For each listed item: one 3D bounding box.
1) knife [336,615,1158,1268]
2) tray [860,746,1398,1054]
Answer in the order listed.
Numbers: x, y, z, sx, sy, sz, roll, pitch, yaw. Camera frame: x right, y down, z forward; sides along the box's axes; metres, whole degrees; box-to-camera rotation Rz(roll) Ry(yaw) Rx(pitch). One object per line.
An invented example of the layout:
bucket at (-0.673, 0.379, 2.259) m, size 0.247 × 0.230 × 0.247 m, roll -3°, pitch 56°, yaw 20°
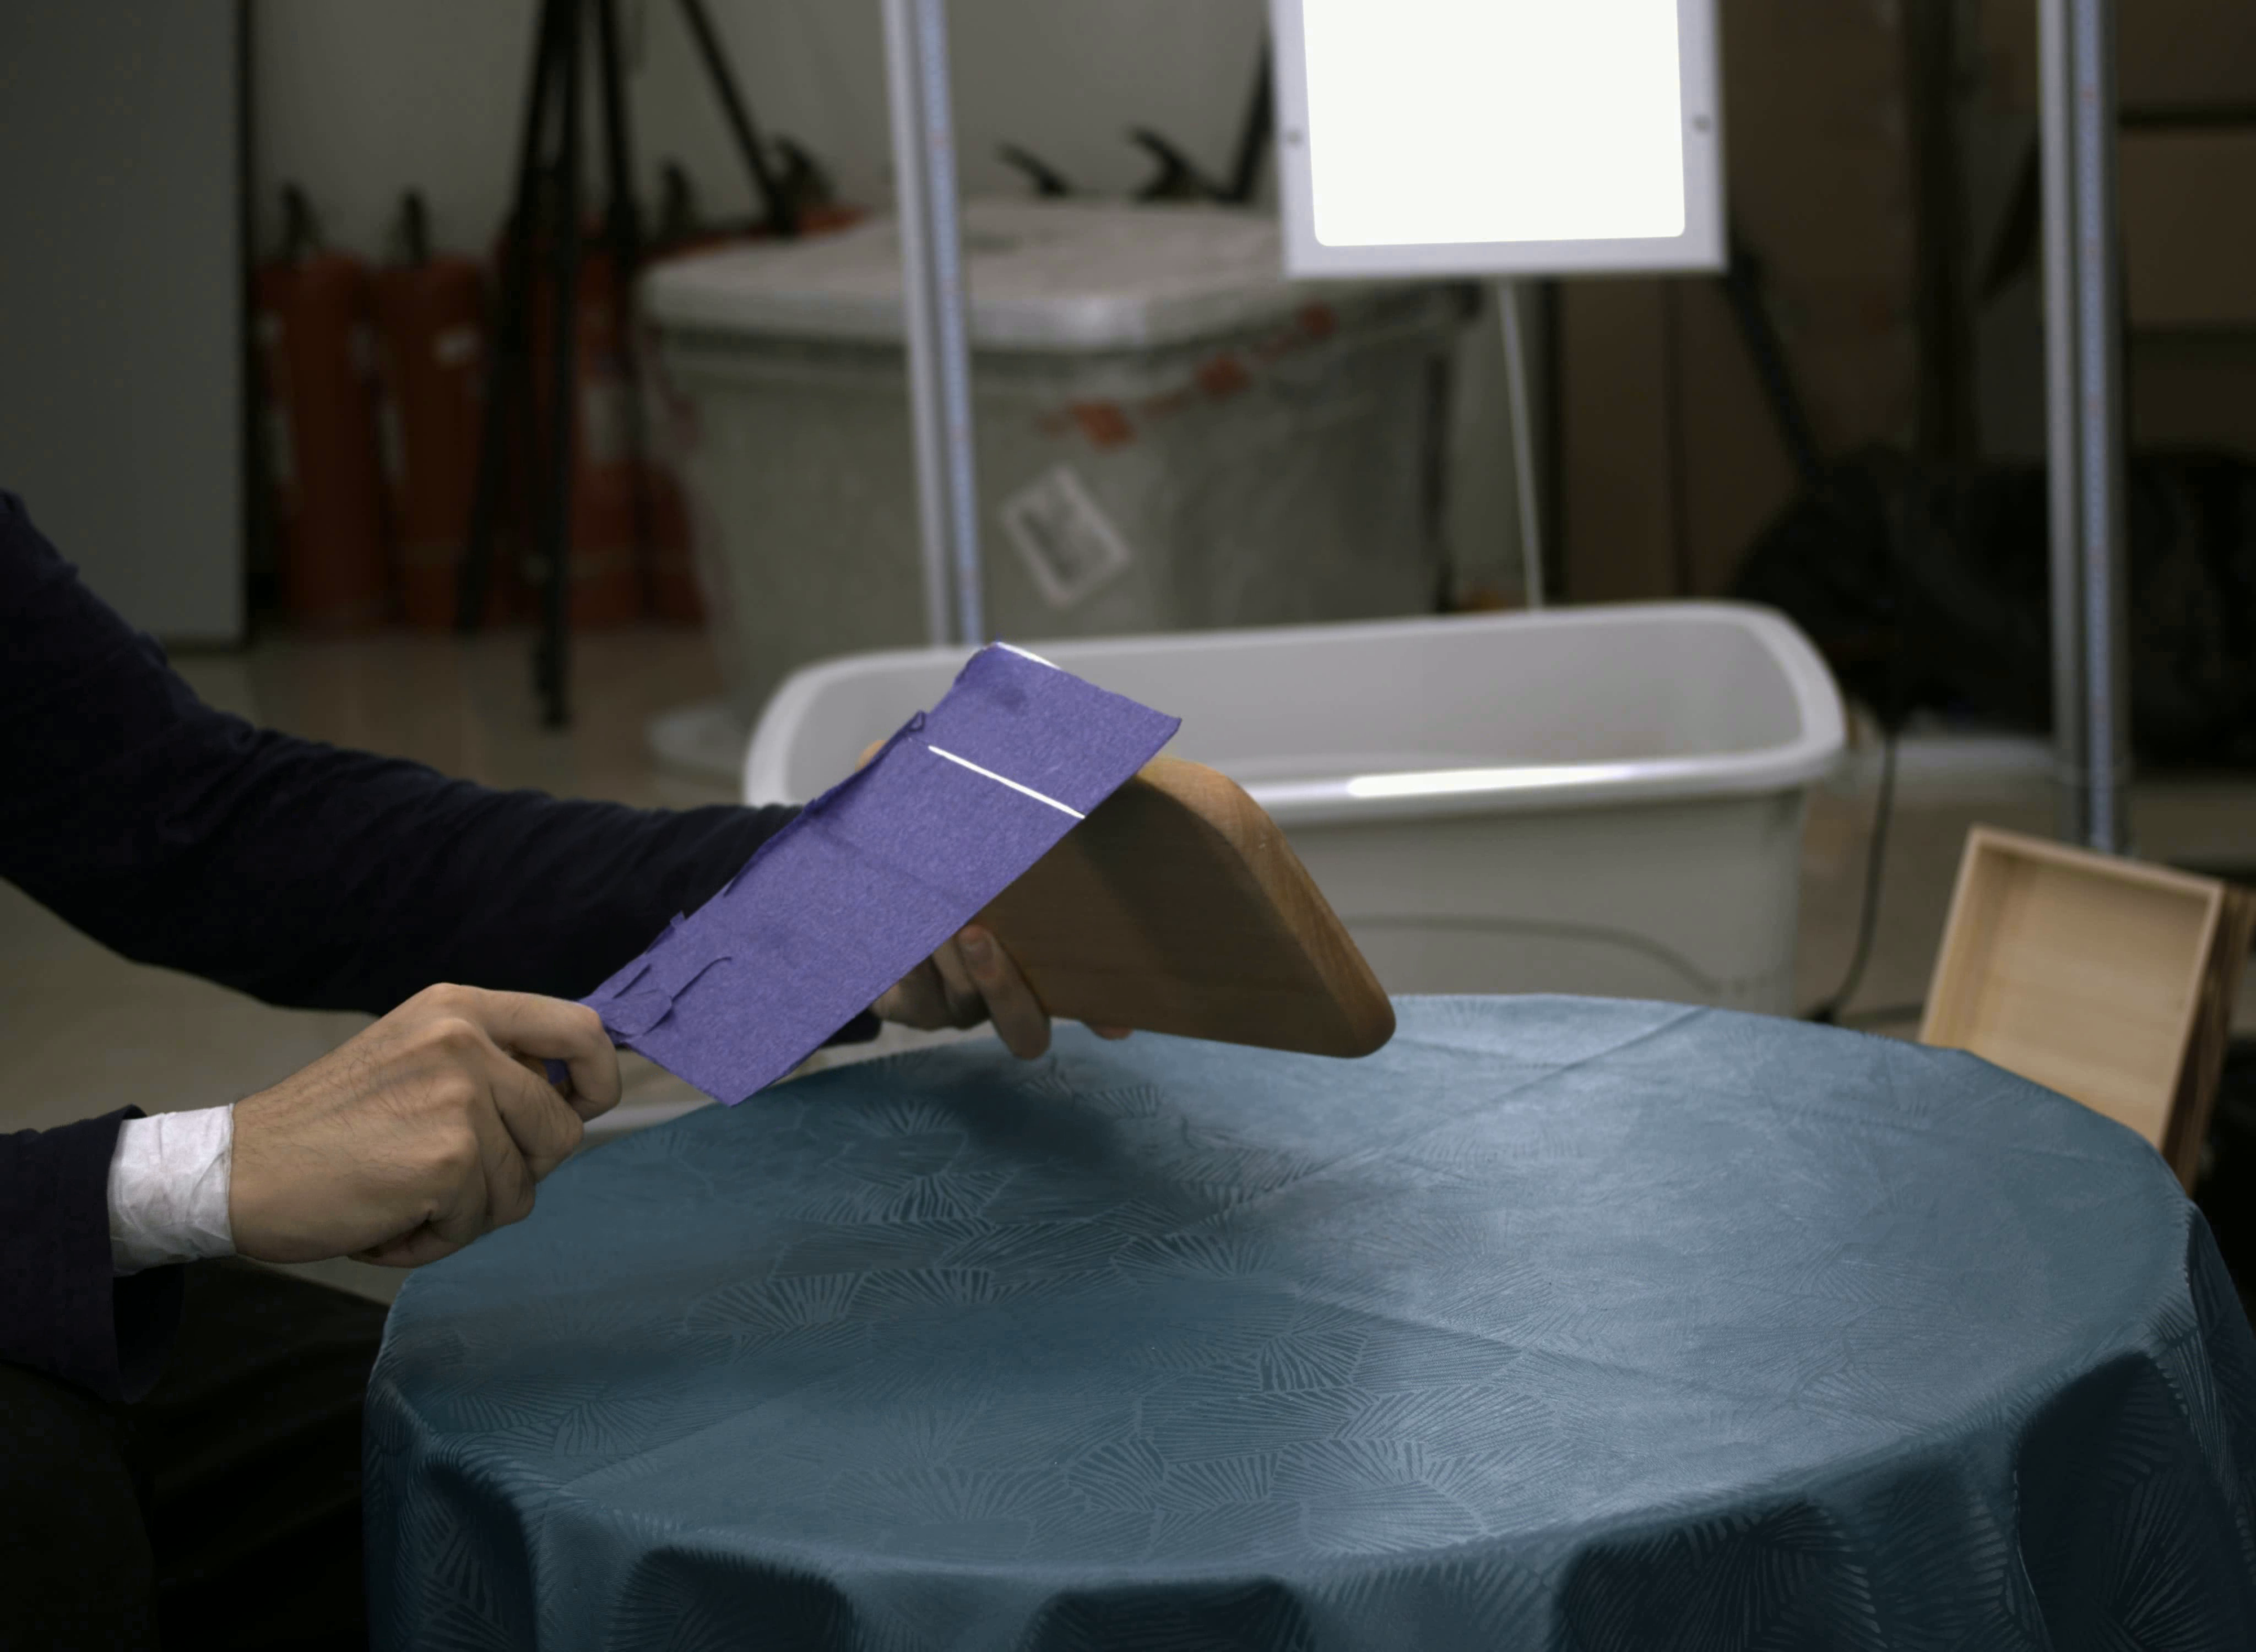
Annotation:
knife at (-0.120, 0.041, 1.799) m, size 0.311 × 0.032 × 0.106 m, roll -44°, pitch 42°, yaw -19°
tray at (-0.005, 0.026, 1.935) m, size 0.022 × 0.130 × 0.256 m, roll -41°, pitch 21°, yaw -25°
